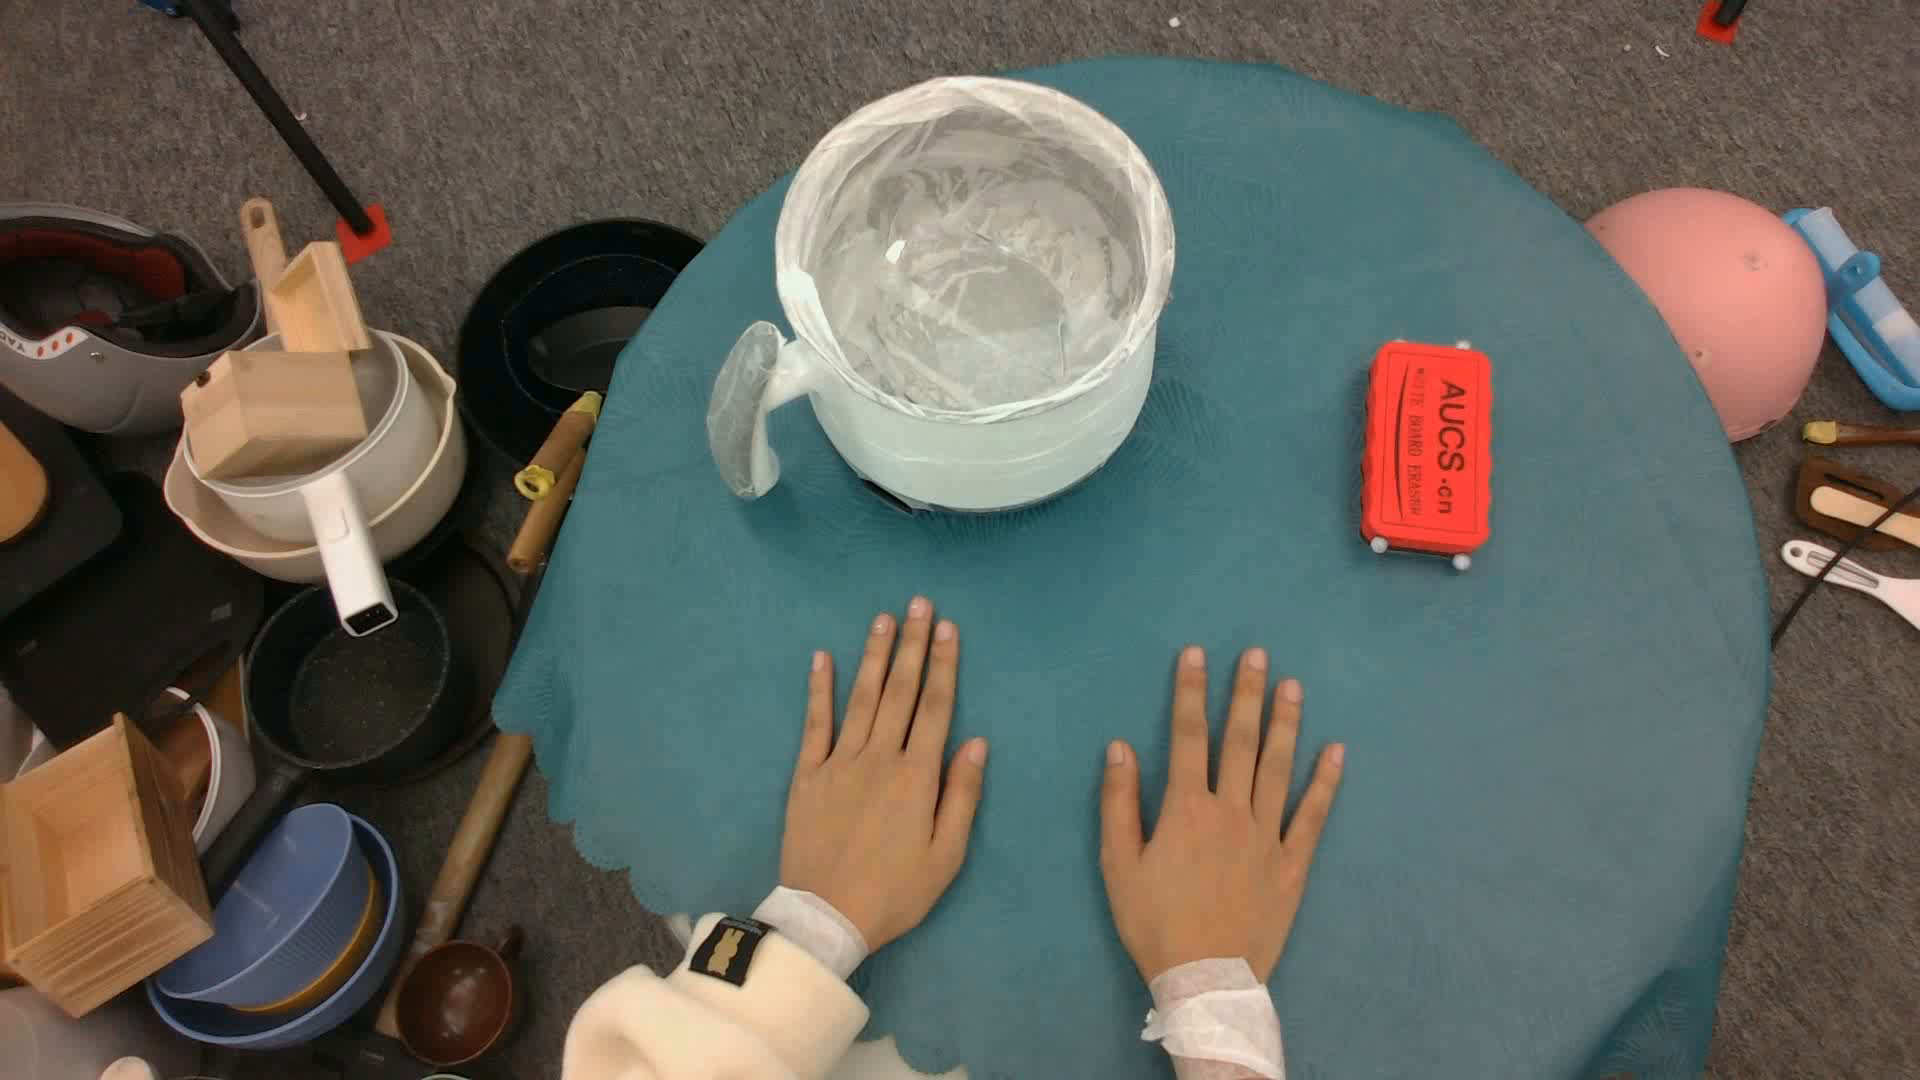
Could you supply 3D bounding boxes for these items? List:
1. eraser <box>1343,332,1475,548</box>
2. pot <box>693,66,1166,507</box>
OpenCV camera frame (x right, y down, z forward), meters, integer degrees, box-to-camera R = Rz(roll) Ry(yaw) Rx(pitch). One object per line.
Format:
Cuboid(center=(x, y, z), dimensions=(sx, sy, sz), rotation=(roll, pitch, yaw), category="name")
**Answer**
Cuboid(center=(0.228, -0.051, 0.698), dimensions=(0.059, 0.023, 0.108), rotation=(7, 69, 7), category="eraser")
Cuboid(center=(-0.021, -0.102, 0.660), dimensions=(0.234, 0.136, 0.179), rotation=(-28, 69, -11), category="pot")
